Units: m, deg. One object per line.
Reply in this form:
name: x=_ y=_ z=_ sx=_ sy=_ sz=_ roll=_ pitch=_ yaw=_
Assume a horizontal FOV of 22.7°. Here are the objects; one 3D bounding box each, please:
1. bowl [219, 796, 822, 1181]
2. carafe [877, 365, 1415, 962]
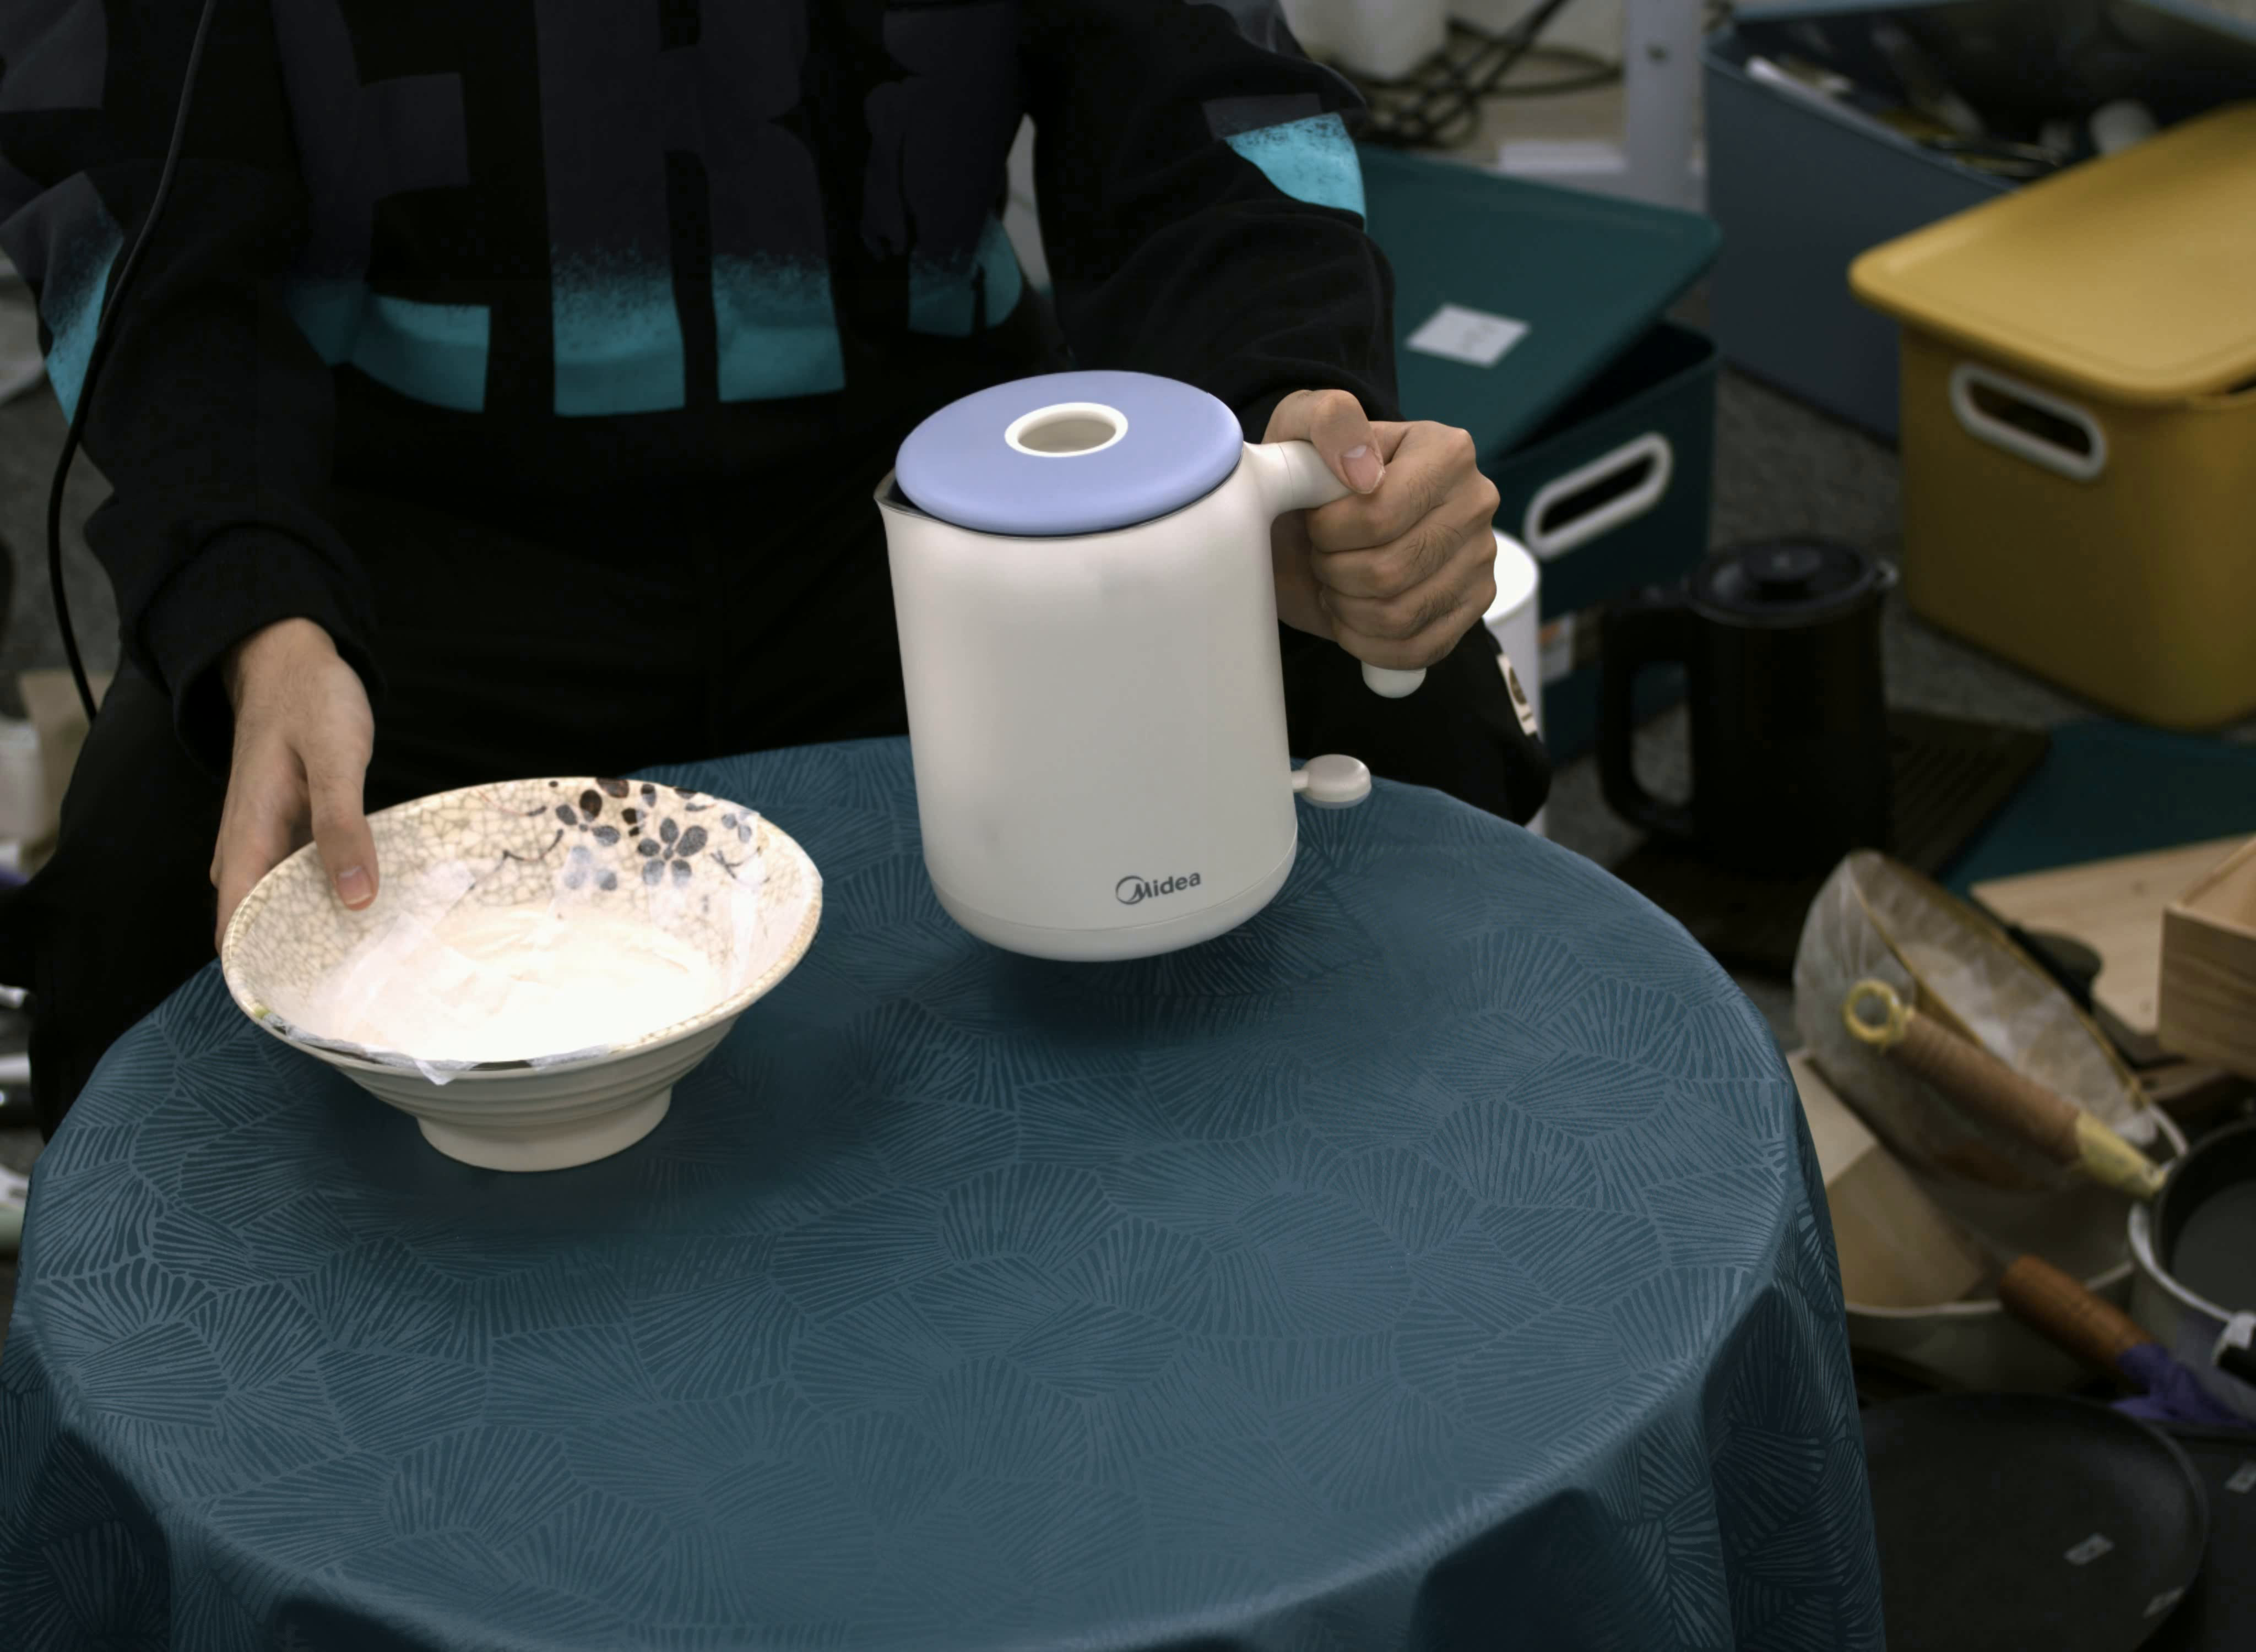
bowl: x=-0.202 y=0.067 z=1.906 sx=0.203 sy=0.077 sz=0.207 roll=-2 pitch=25 yaw=1
carafe: x=0.010 y=-0.061 z=1.944 sx=0.191 sy=0.180 sz=0.133 roll=-11 pitch=29 yaw=-15
